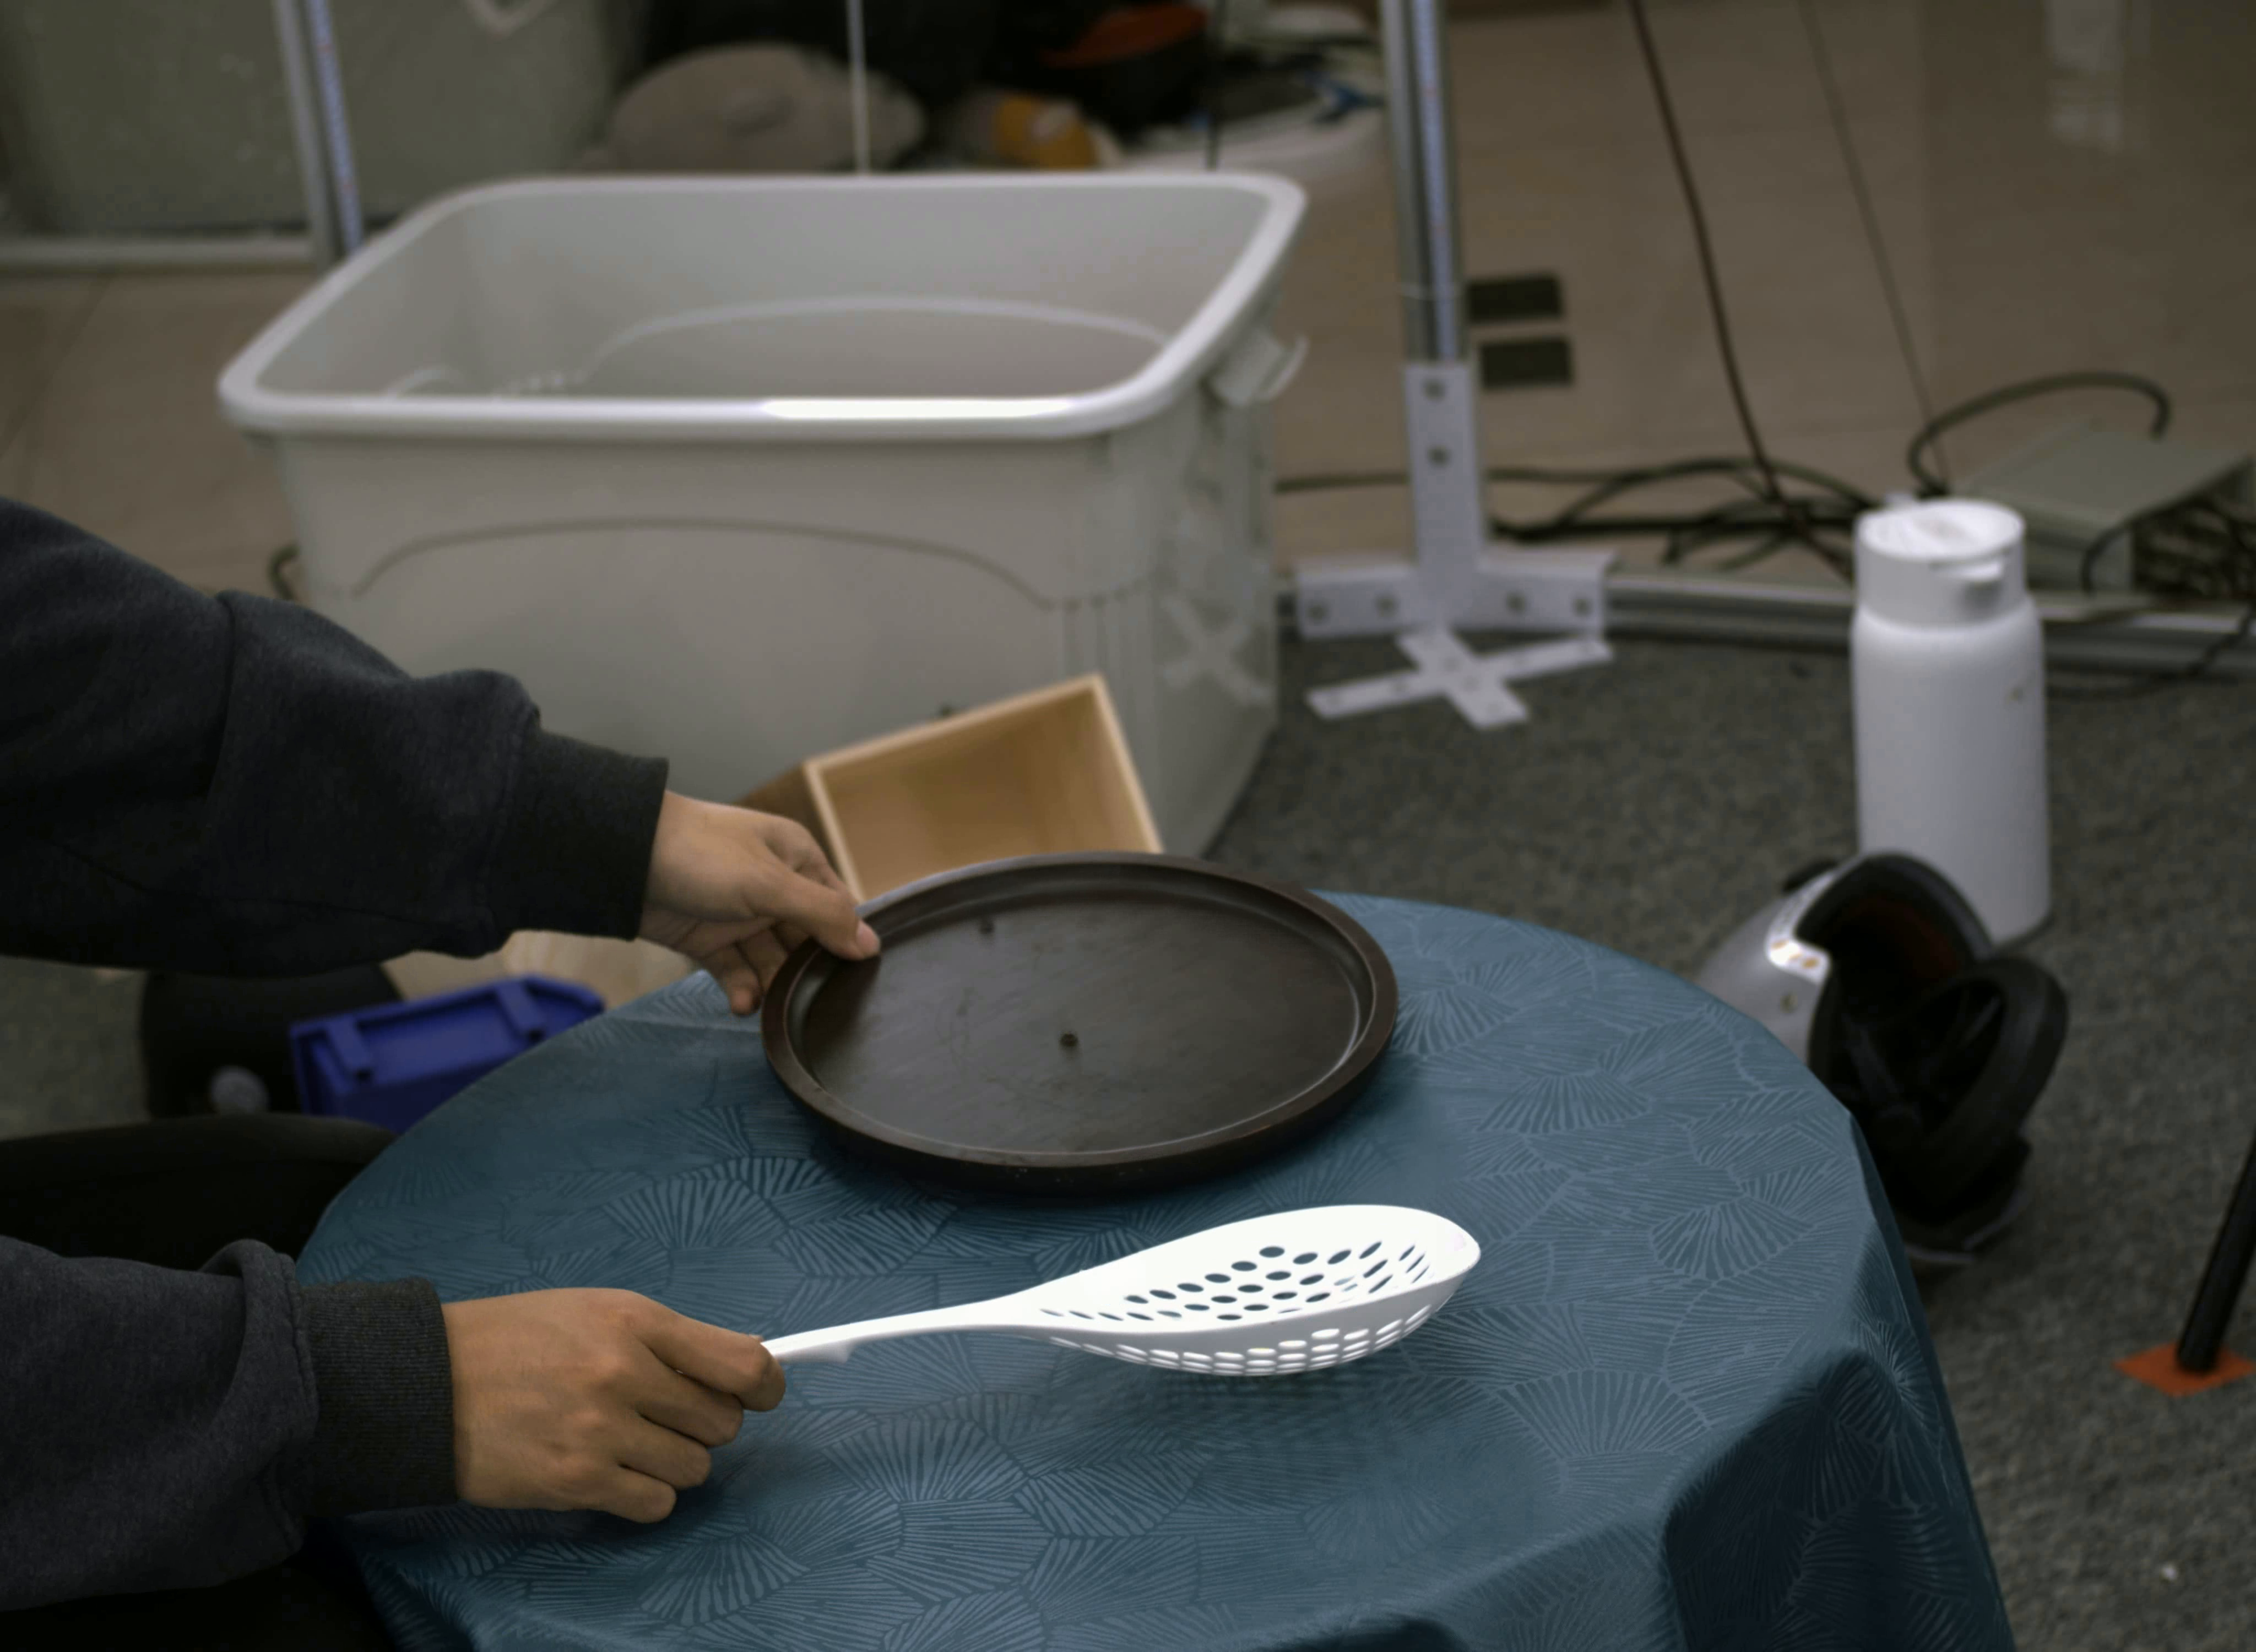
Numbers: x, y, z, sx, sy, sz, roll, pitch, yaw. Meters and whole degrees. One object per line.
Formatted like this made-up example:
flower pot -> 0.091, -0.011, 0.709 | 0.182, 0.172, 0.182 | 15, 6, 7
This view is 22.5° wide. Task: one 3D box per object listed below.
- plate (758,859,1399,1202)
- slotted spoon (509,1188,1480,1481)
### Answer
plate -> -0.019, 0.079, 2.234 | 0.254, 0.029, 0.250 | -2, 29, 1
slotted spoon -> -0.047, 0.182, 1.994 | 0.347, 0.051, 0.136 | -6, 12, -8
